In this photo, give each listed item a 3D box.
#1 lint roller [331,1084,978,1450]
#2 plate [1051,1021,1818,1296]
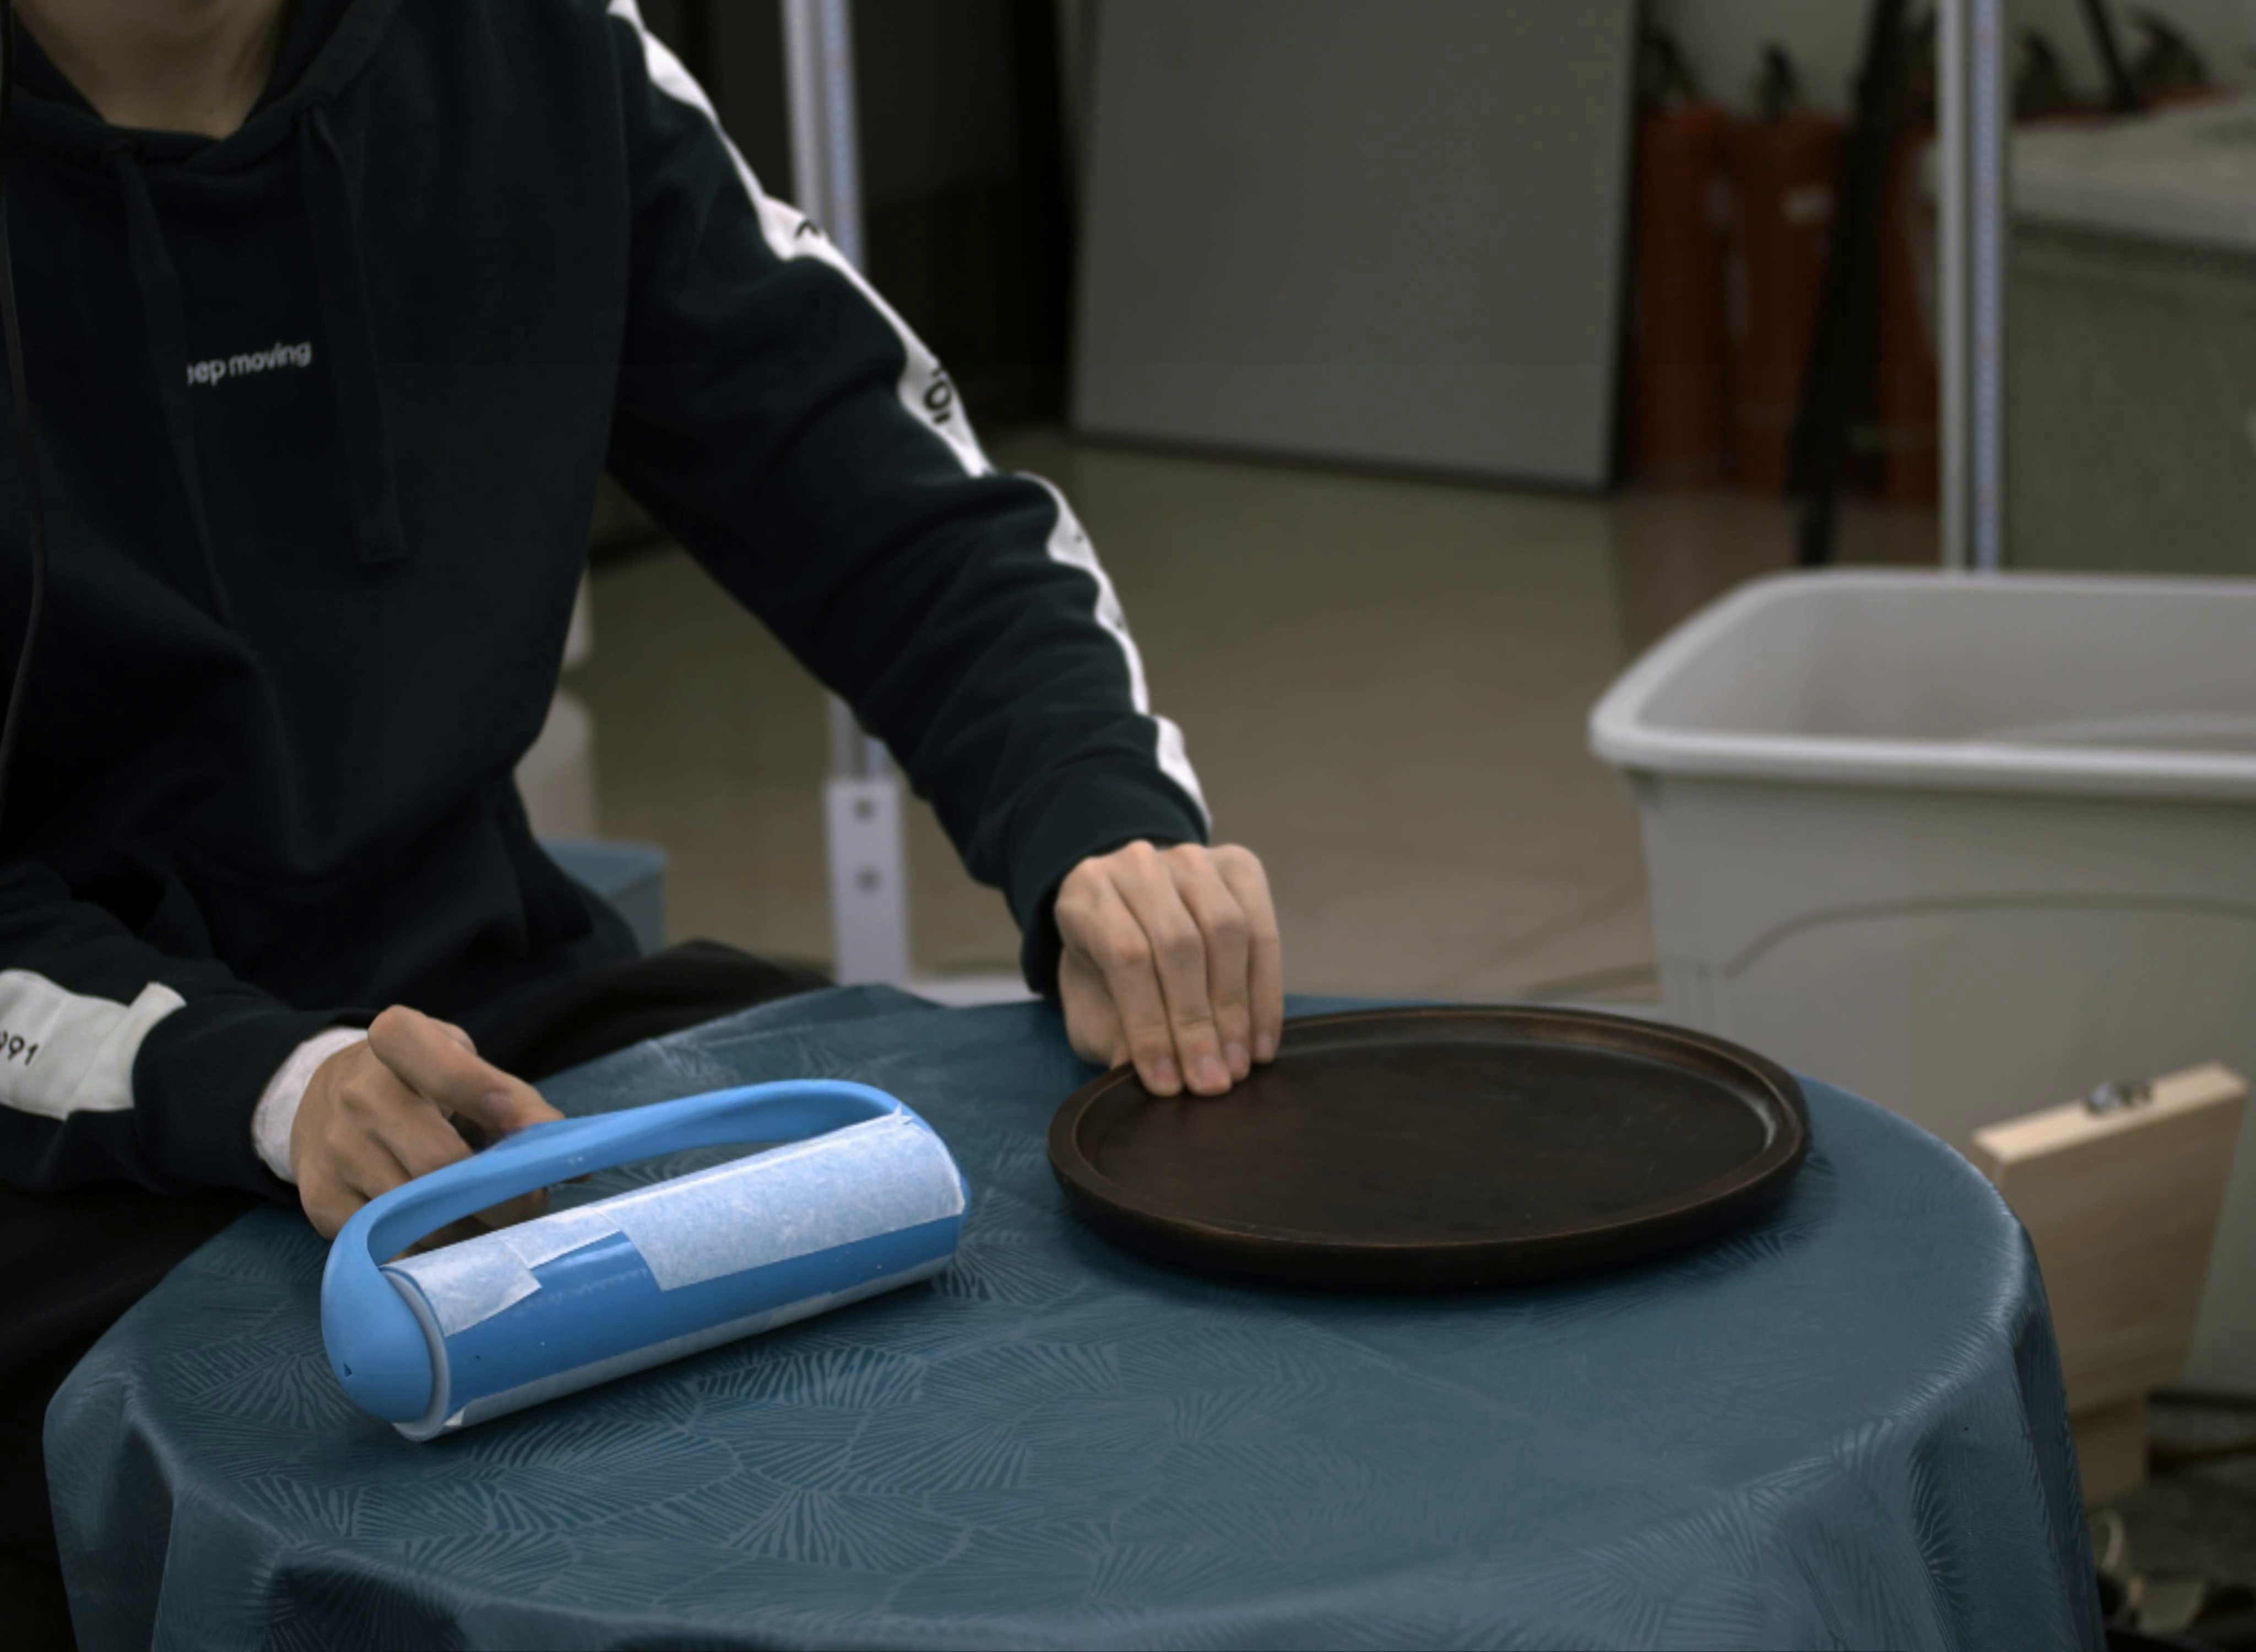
[{"bbox_3d":[-0.178,0.127,1.683,0.224,0.068,0.182,-18,20,-39],"label":"lint roller"},{"bbox_3d":[0.099,0.105,1.755,0.251,0.029,0.255,-3,14,0],"label":"plate"}]
